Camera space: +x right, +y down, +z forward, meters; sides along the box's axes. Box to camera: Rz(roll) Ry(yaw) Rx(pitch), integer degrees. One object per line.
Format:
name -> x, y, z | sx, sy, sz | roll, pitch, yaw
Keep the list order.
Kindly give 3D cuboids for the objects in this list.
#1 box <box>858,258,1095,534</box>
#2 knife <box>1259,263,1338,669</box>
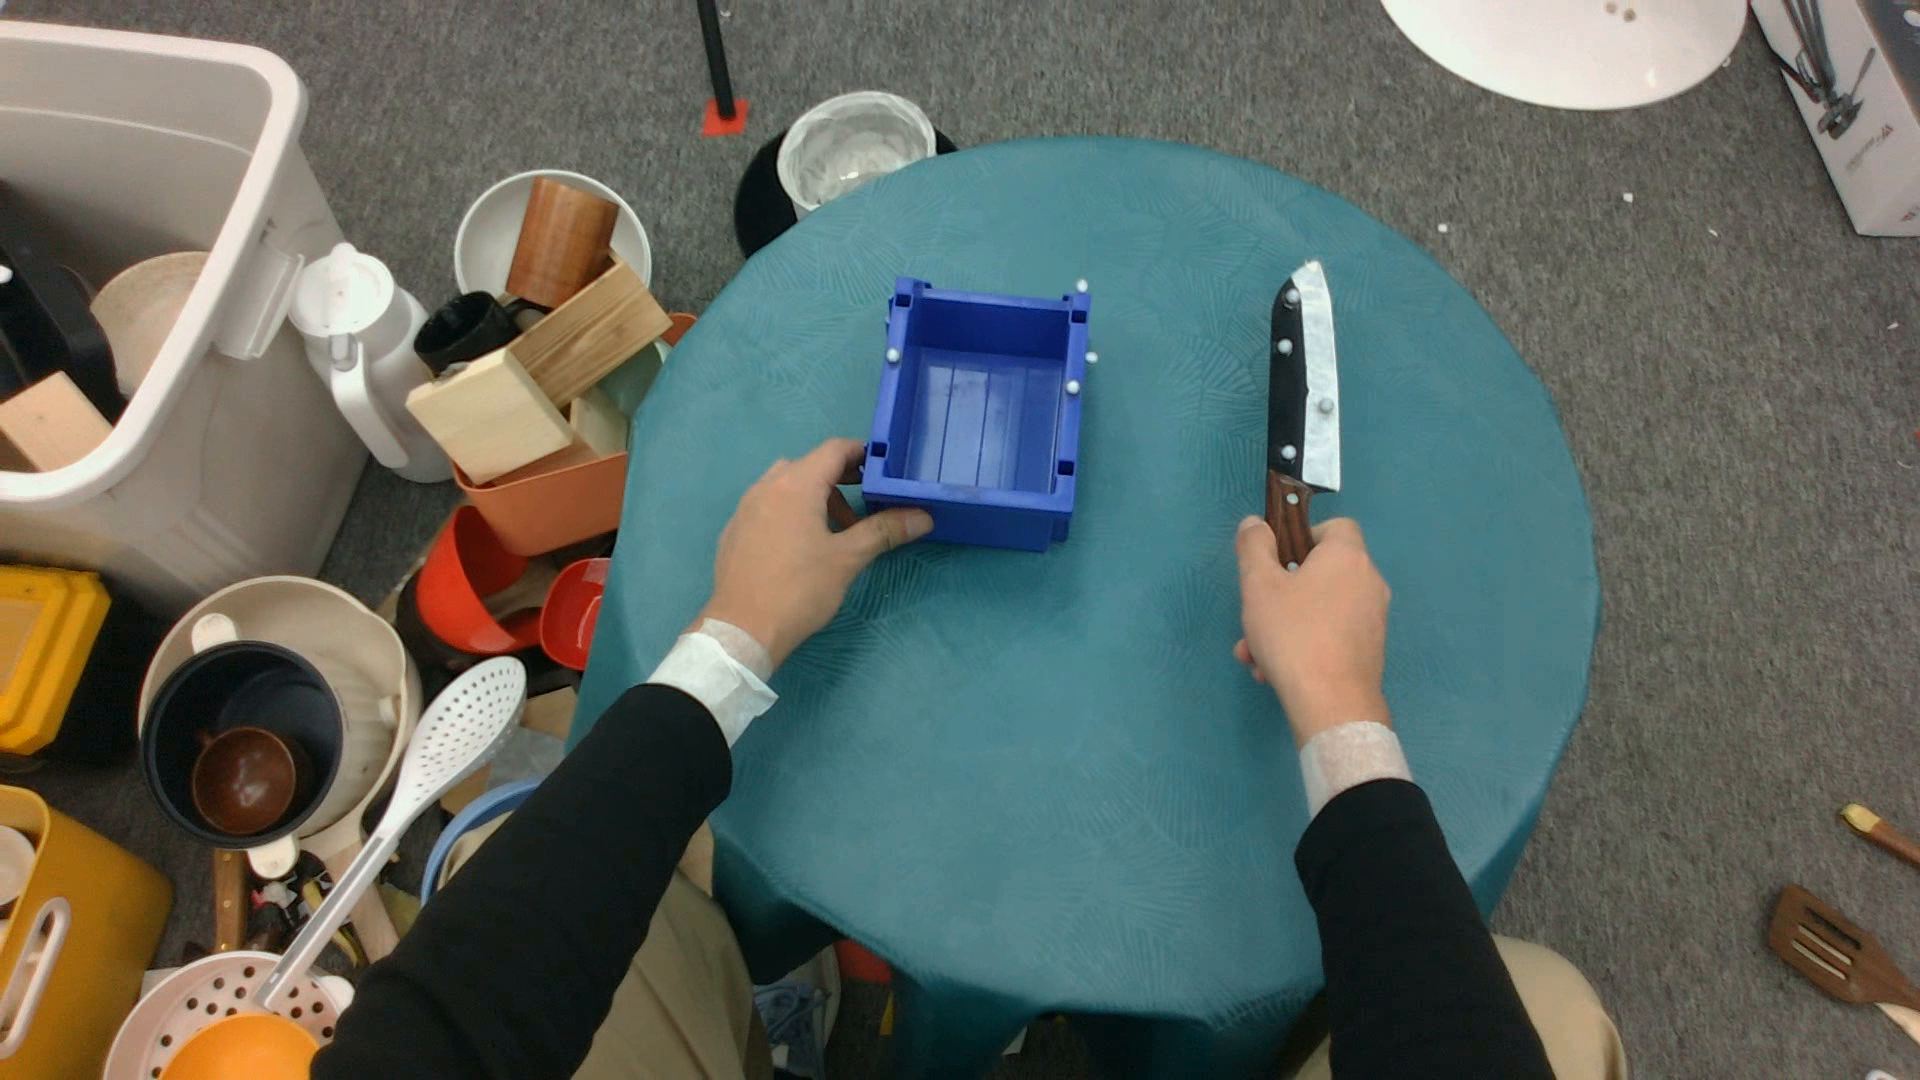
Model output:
box -> 0.012, -0.095, 0.845 | 0.124, 0.081, 0.180 | 7, 66, 4
knife -> 0.199, -0.054, 0.809 | 0.050, 0.020, 0.290 | 15, 60, -7
